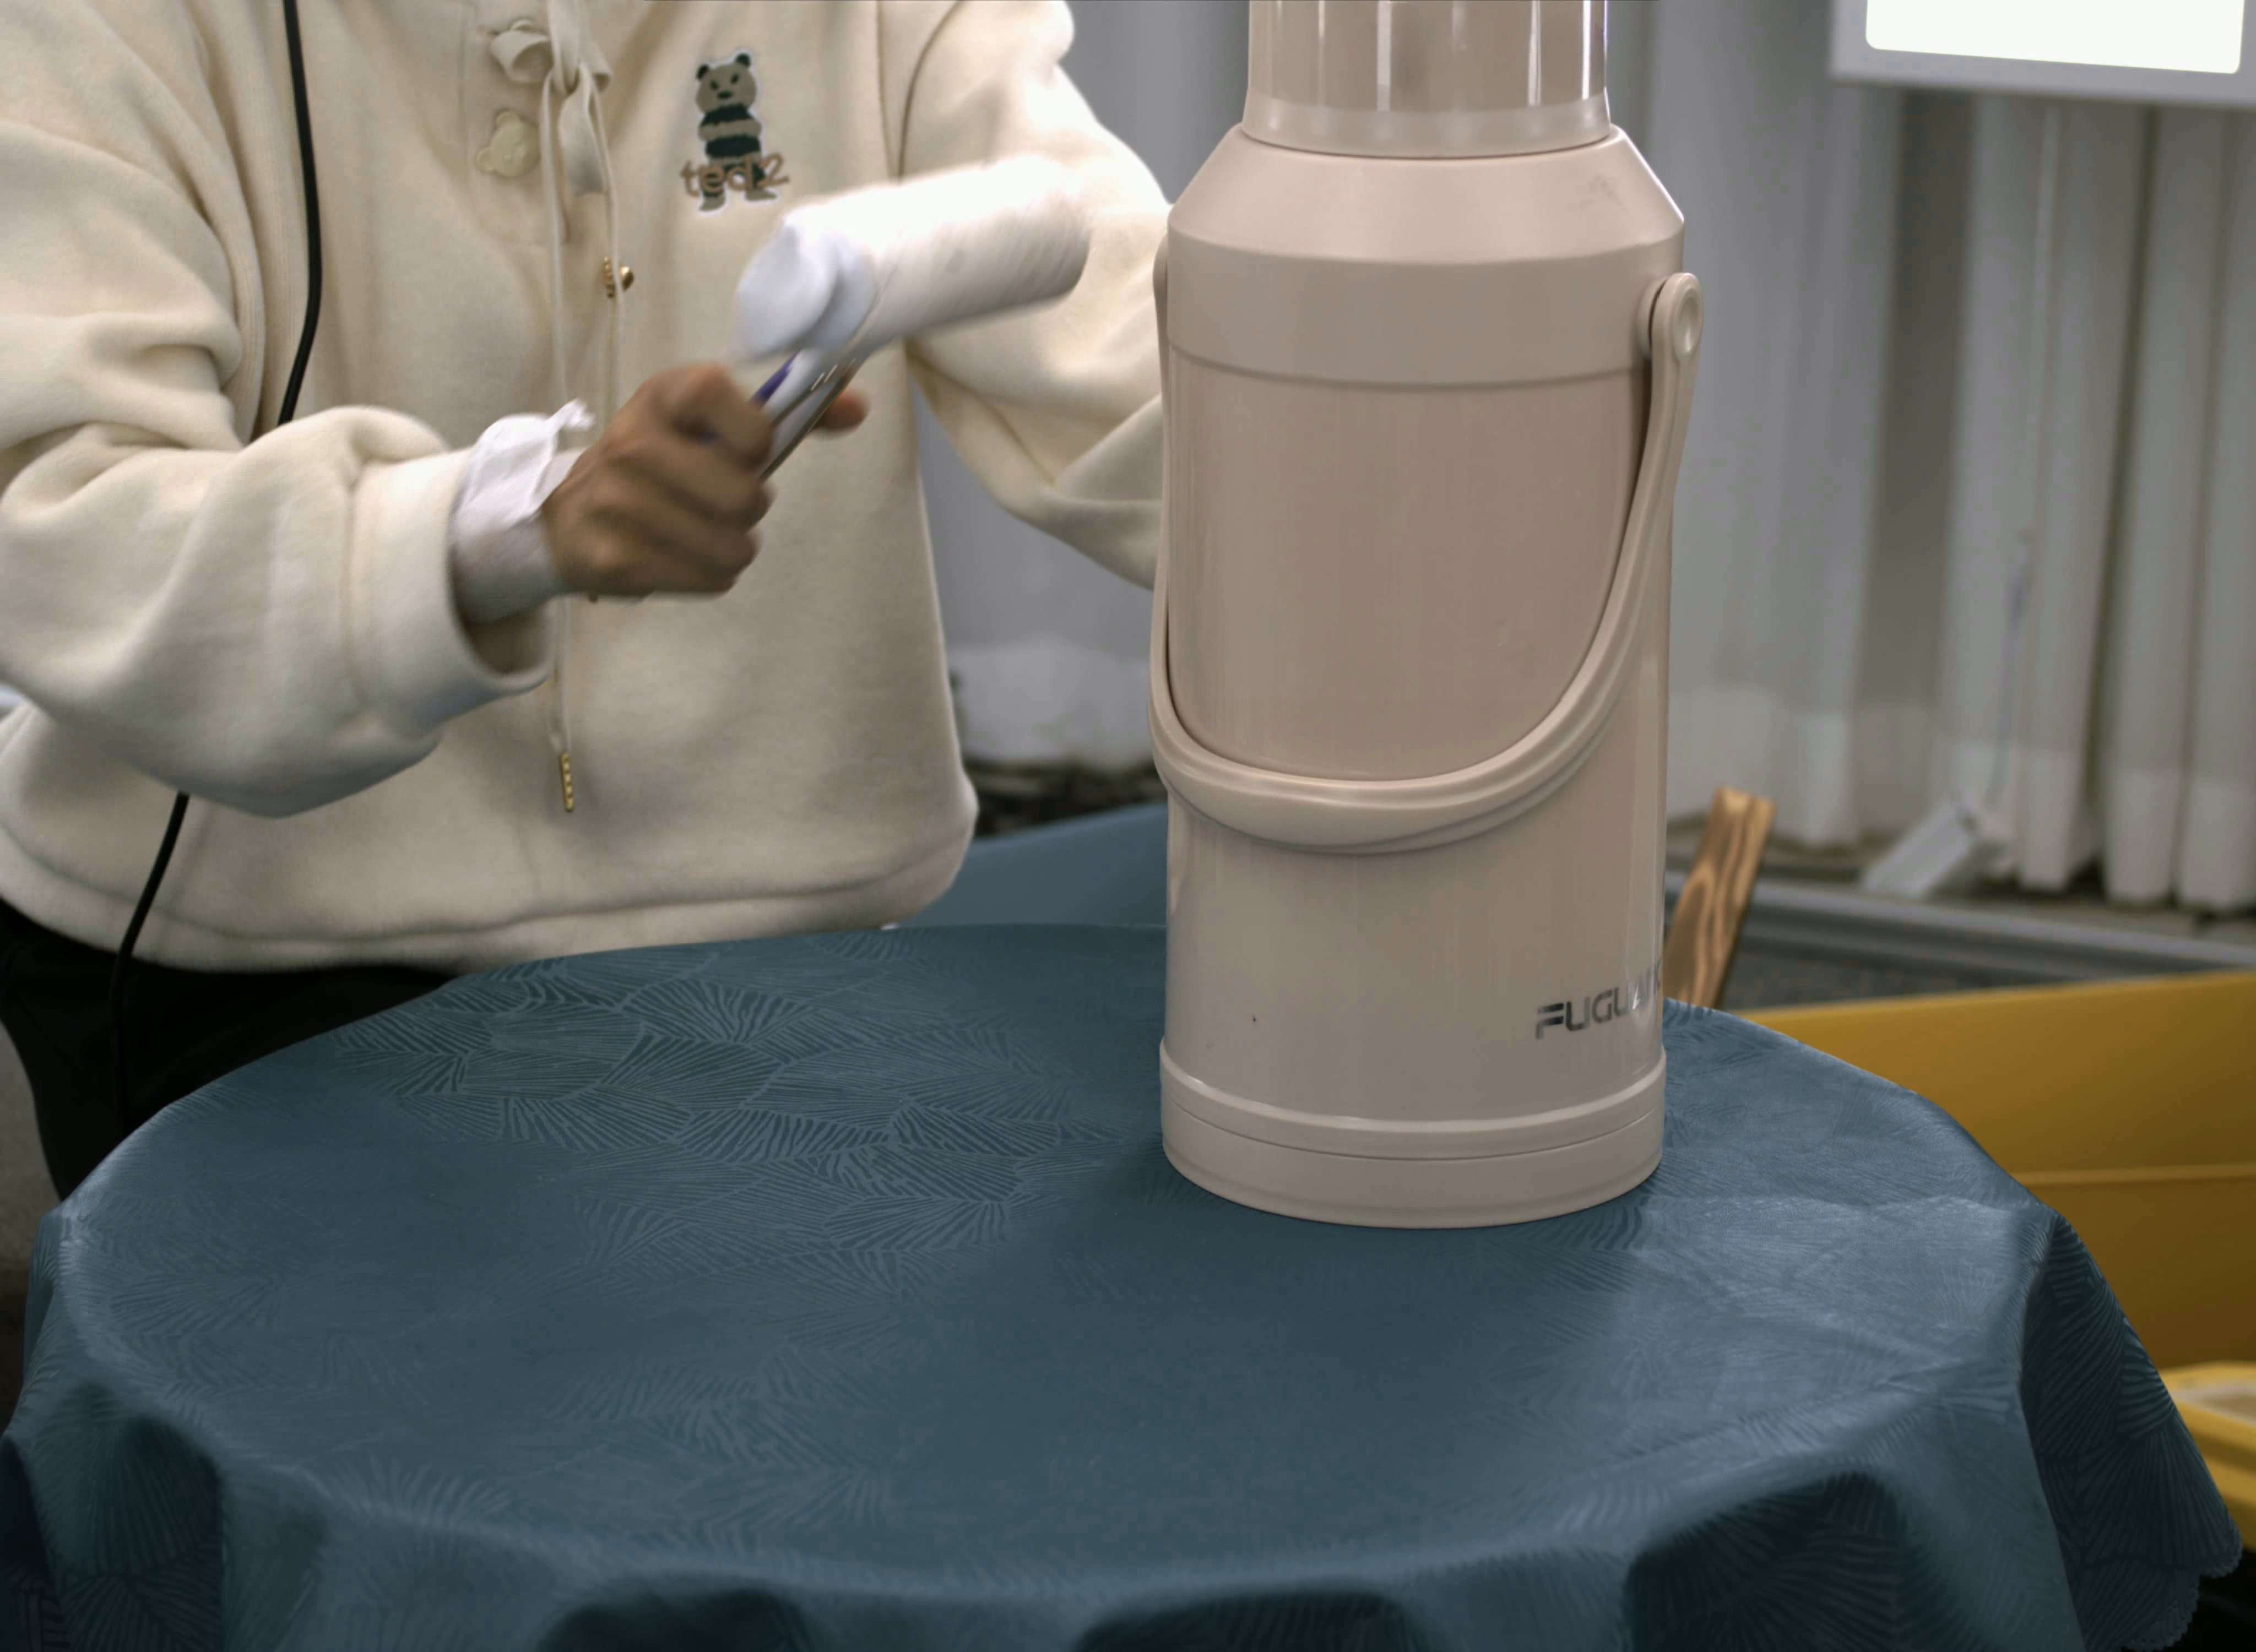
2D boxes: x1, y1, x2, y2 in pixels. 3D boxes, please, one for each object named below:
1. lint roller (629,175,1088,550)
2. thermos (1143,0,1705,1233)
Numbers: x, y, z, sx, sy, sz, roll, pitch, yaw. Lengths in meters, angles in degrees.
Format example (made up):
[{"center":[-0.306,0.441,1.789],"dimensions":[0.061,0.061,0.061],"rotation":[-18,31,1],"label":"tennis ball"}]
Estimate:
[{"center":[-0.103,-0.142,1.621],"dimensions":[0.133,0.050,0.180],"rotation":[-20,-6,-45],"label":"lint roller"},{"center":[0.097,-0.092,1.619],"dimensions":[0.173,0.409,0.207],"rotation":[9,18,28],"label":"thermos"}]
